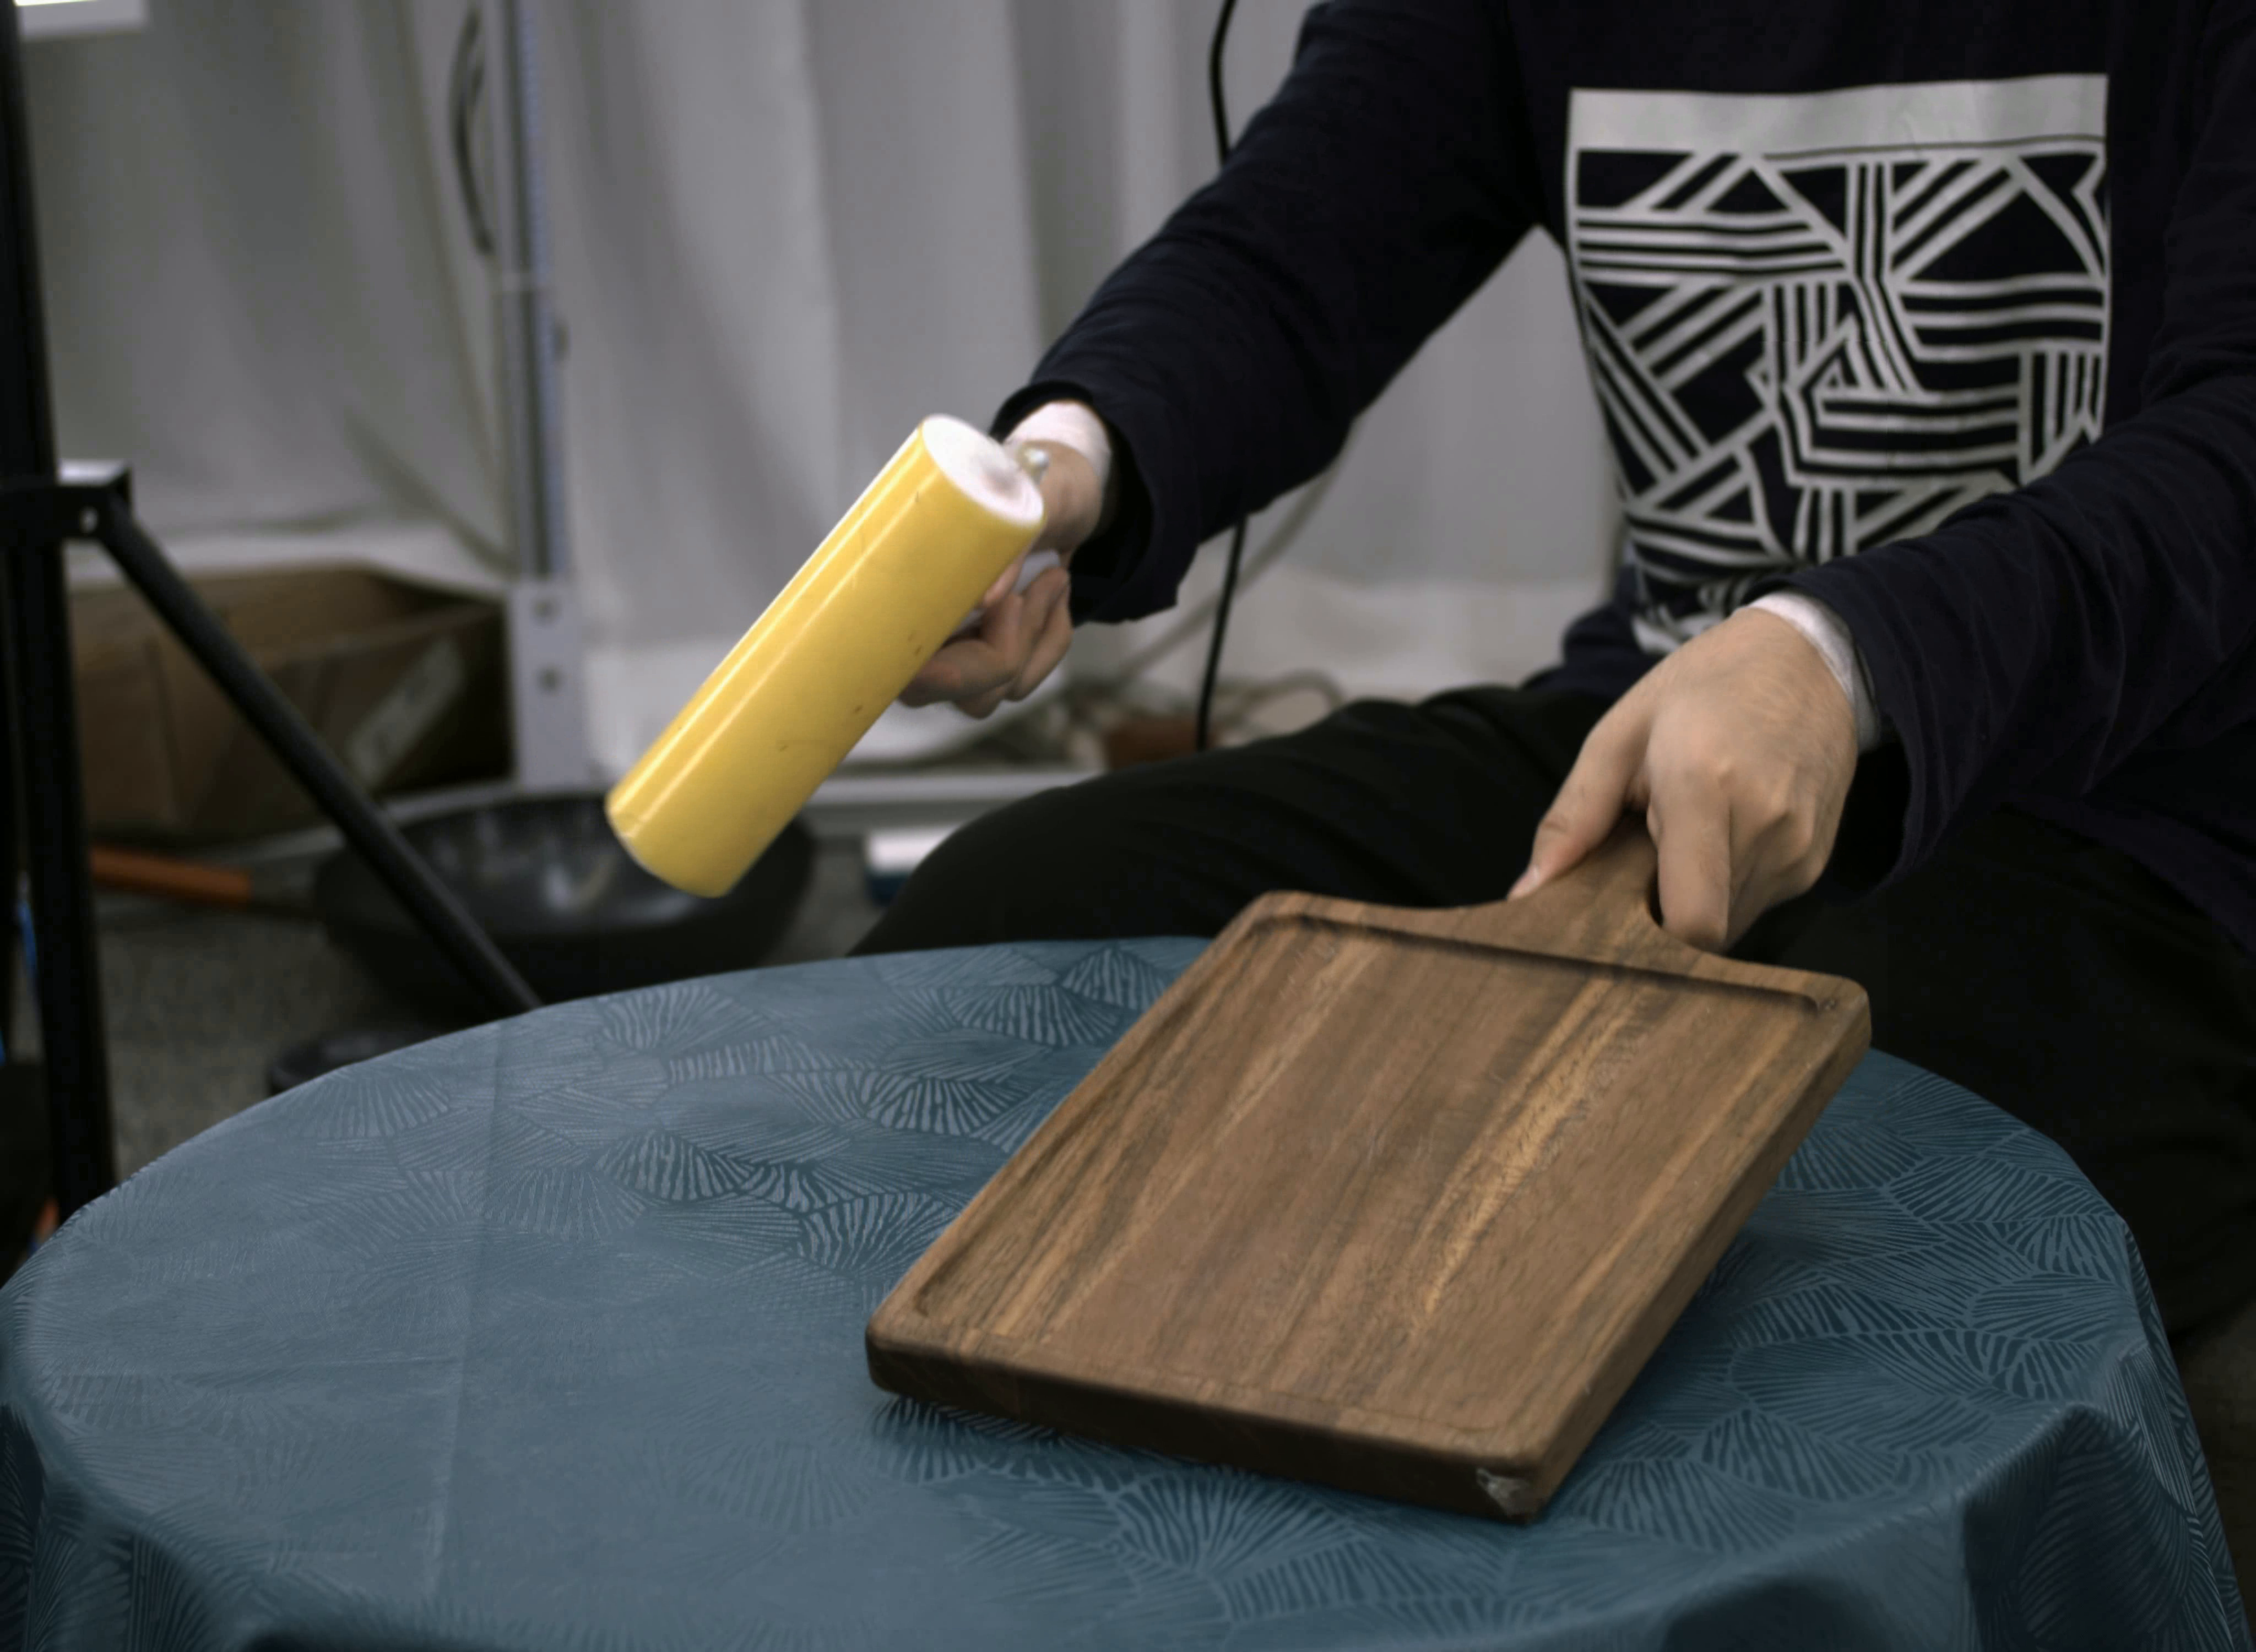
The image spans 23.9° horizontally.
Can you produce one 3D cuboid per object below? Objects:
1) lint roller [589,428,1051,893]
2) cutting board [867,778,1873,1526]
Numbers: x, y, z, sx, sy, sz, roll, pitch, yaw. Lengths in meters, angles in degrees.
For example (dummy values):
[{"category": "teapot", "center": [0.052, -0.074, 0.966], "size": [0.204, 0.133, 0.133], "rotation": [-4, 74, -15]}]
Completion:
[{"category": "lint roller", "center": [-0.076, -0.068, 1.670], "size": [0.175, 0.051, 0.191], "rotation": [-45, 2, 22]}, {"category": "cutting board", "center": [0.093, 0.075, 1.481], "size": [0.204, 0.023, 0.348], "rotation": [8, 31, 27]}]
